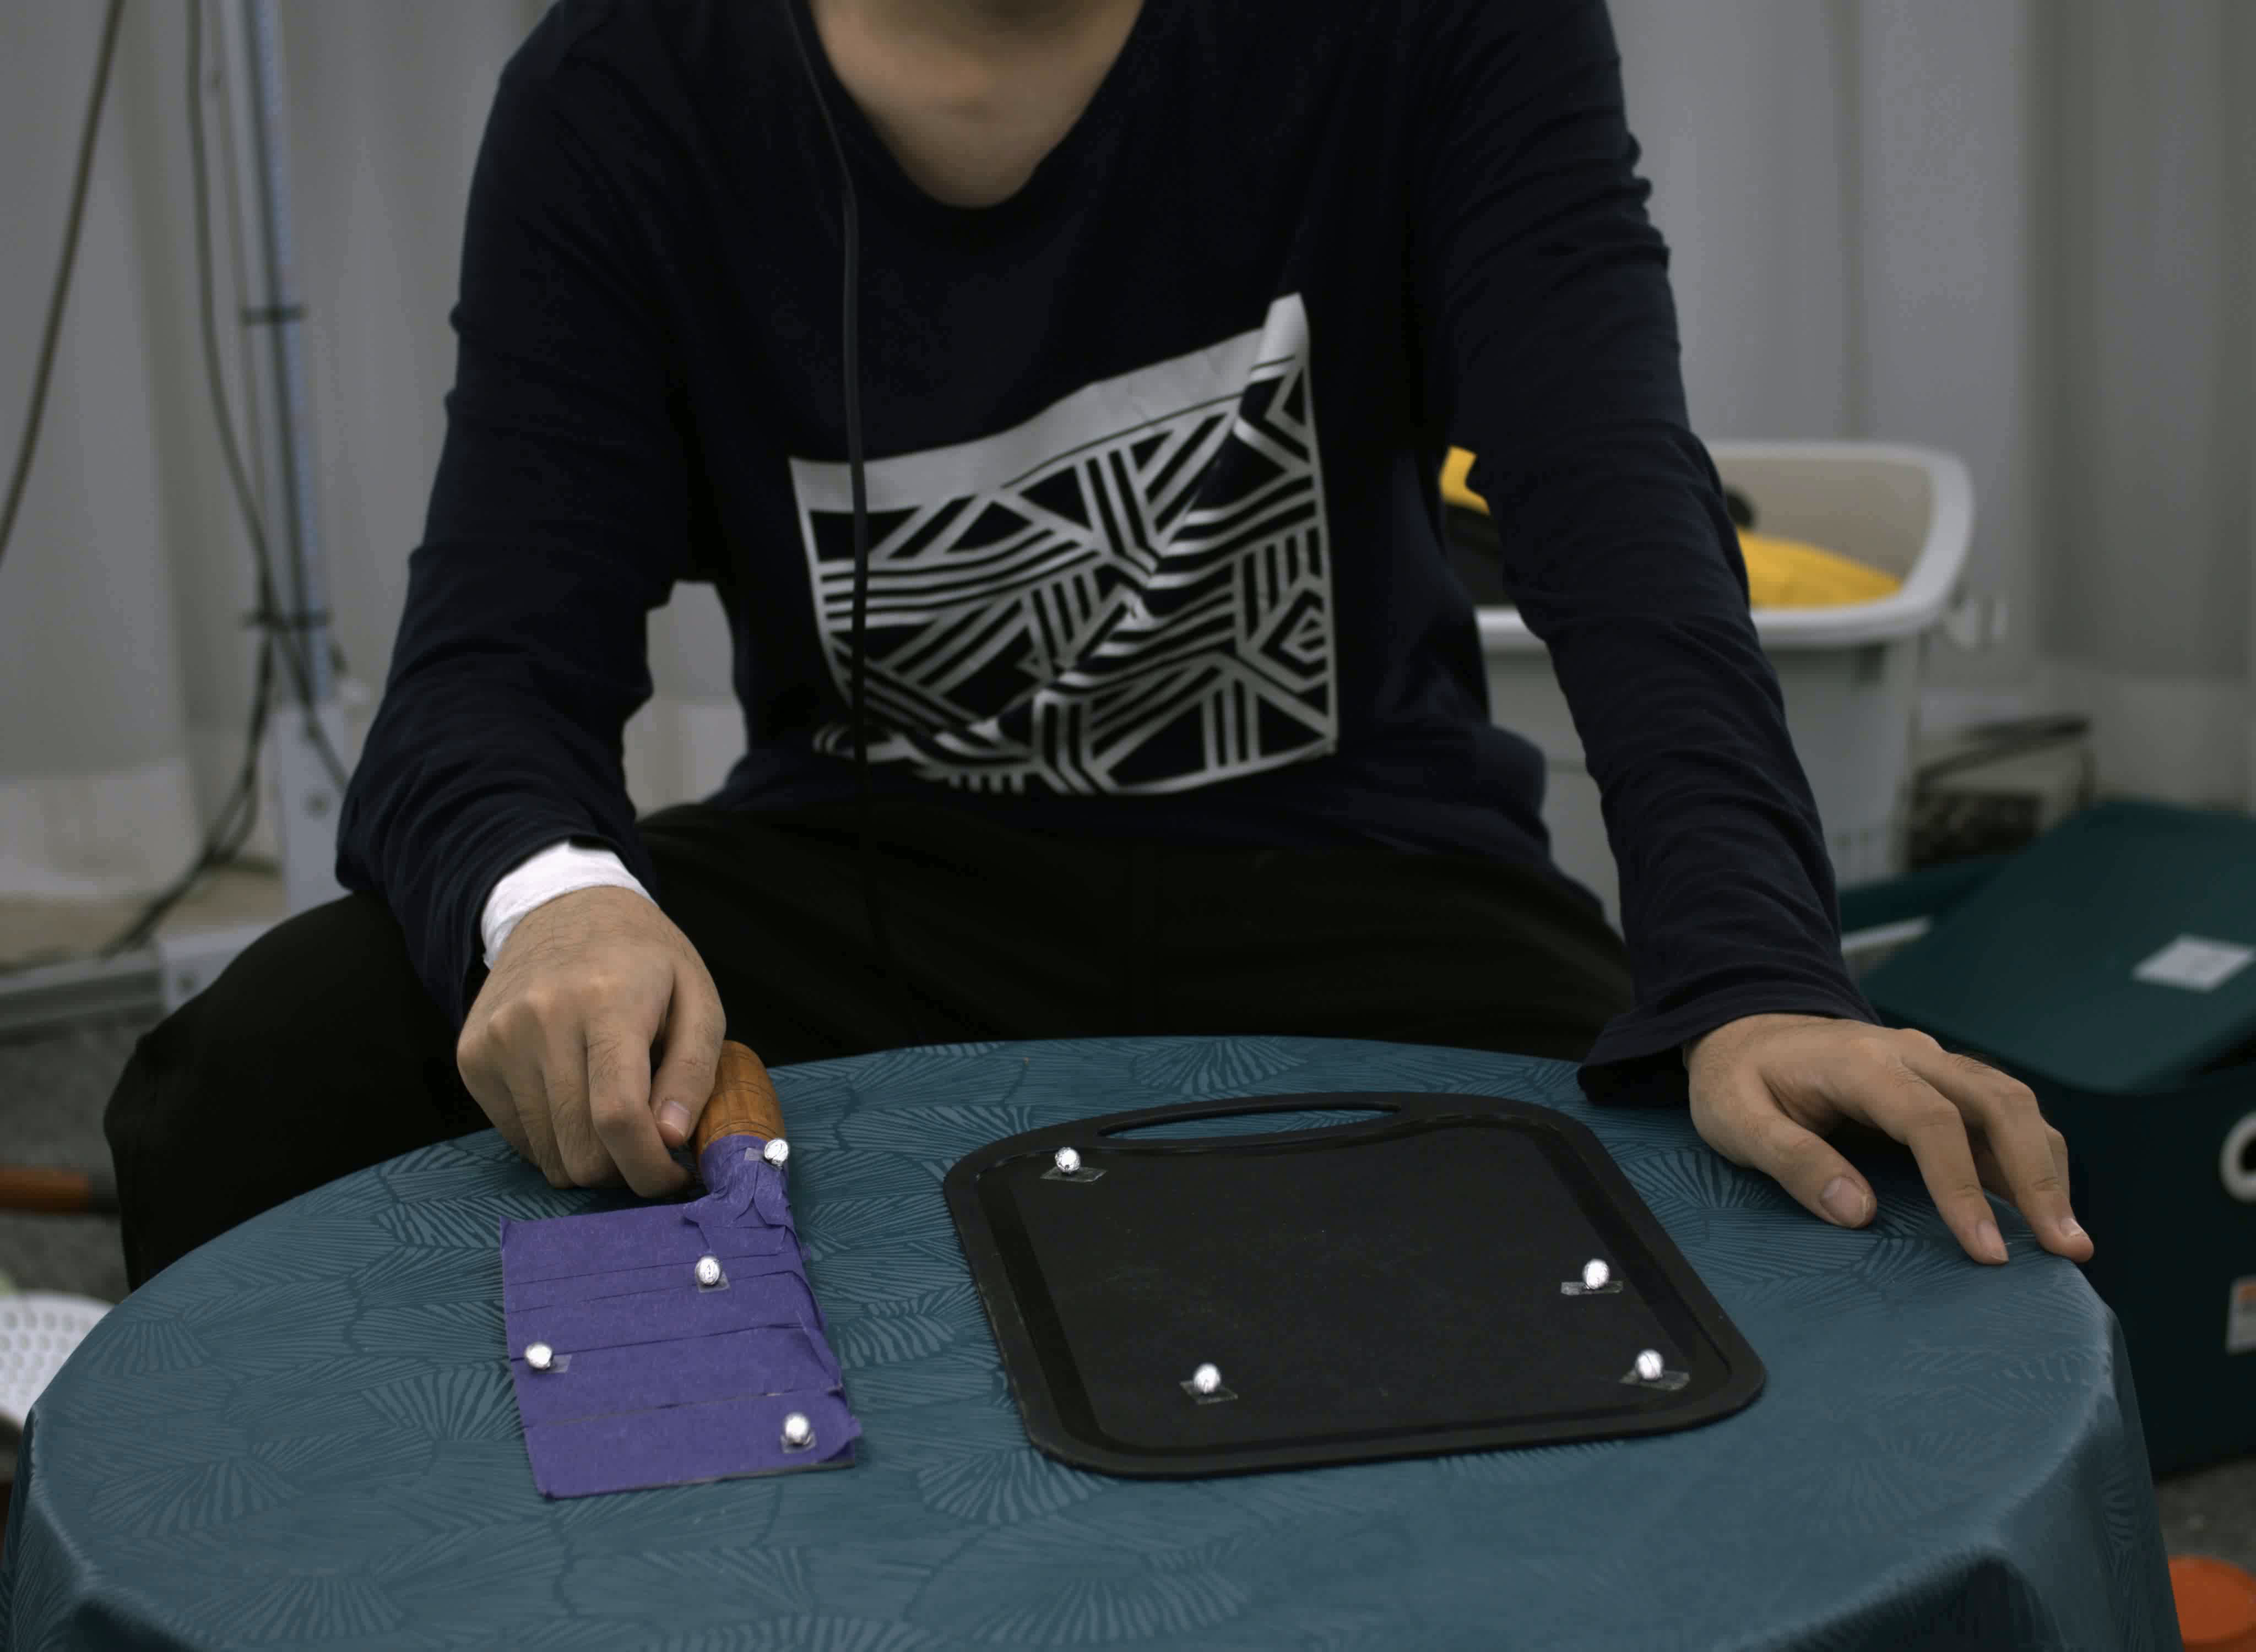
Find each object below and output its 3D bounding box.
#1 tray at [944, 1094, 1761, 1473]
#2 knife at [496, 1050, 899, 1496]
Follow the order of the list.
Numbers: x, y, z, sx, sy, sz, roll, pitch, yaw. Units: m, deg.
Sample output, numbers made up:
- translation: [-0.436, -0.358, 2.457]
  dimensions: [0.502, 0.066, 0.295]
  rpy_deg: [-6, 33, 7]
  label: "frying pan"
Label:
- translation: [0.058, 0.130, 1.638]
  dimensions: [0.210, 0.010, 0.328]
  rpy_deg: [-4, 15, -7]
  label: "tray"
- translation: [-0.140, 0.130, 1.636]
  dimensions: [0.103, 0.032, 0.318]
  rpy_deg: [-5, 15, -9]
  label: "knife"
